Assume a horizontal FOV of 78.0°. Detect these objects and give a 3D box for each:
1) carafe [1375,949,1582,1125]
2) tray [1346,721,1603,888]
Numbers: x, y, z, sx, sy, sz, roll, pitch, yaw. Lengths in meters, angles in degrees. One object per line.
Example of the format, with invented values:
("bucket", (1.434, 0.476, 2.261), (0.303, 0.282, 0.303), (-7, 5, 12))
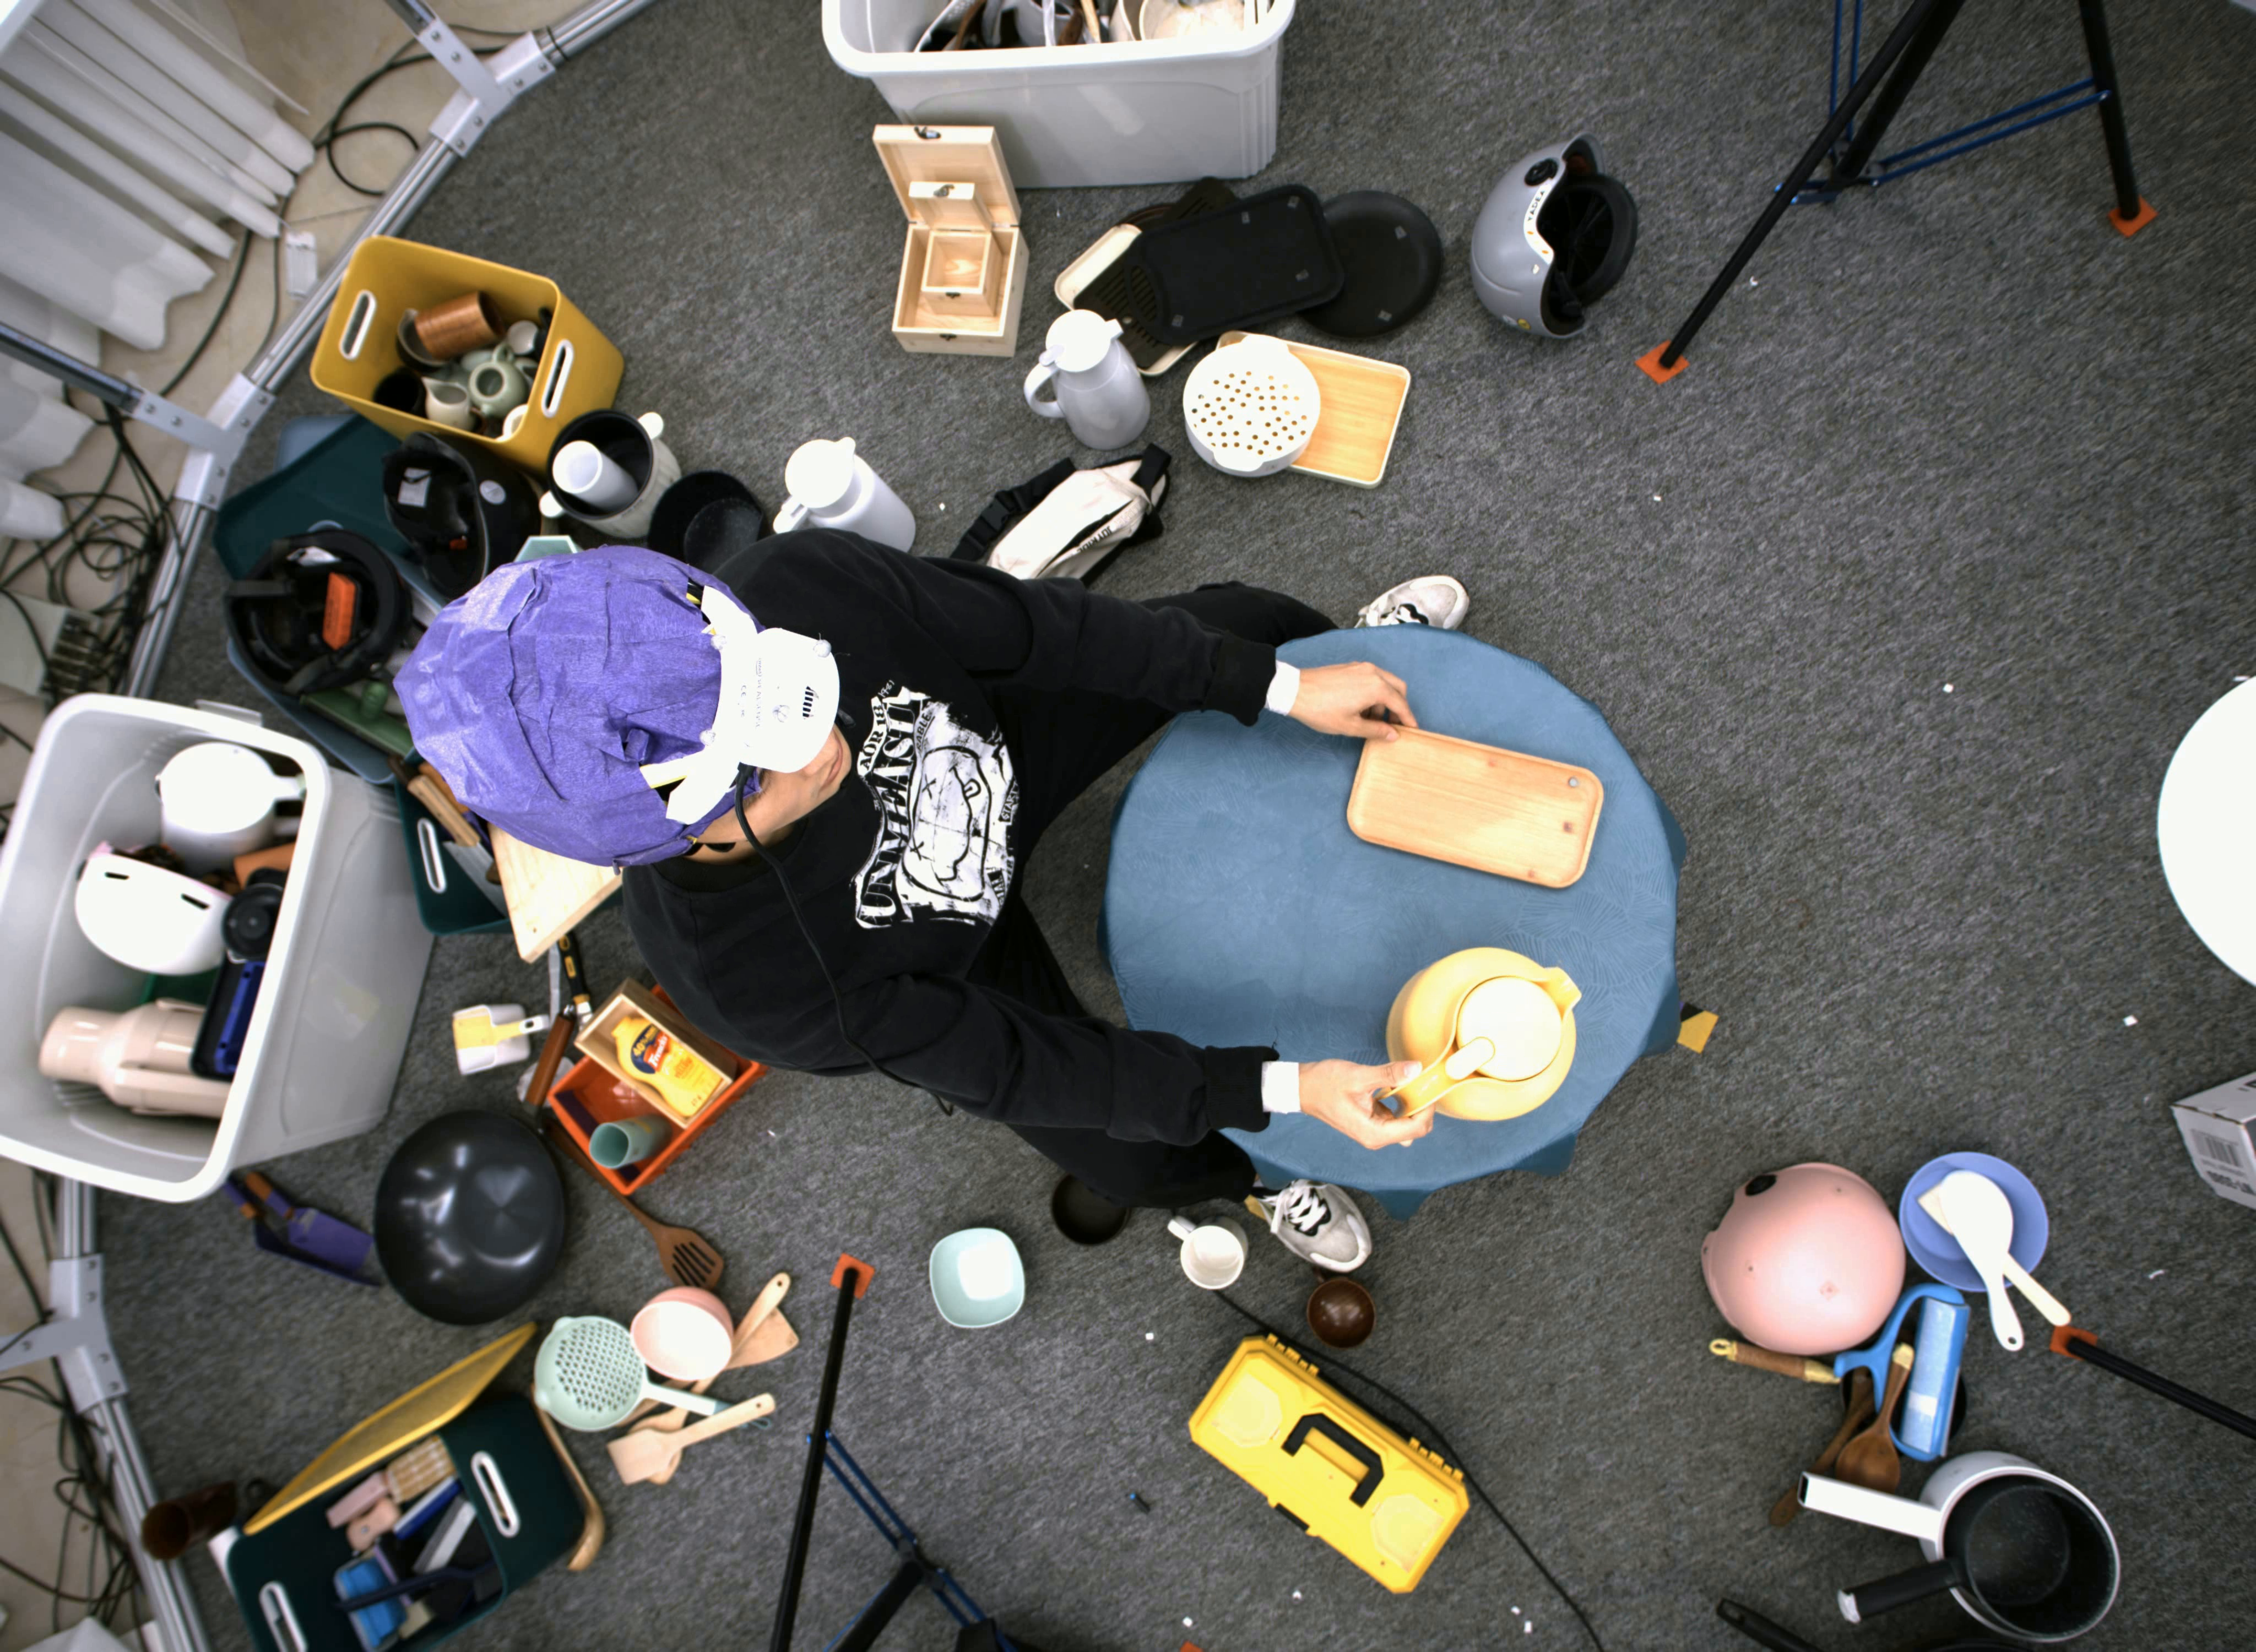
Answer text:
("carafe", (0.319, 0.205, 1.300), (0.202, 0.263, 0.162), (-32, 77, -3))
("tray", (0.359, -0.025, 1.433), (0.251, 0.023, 0.131), (15, 95, 12))
